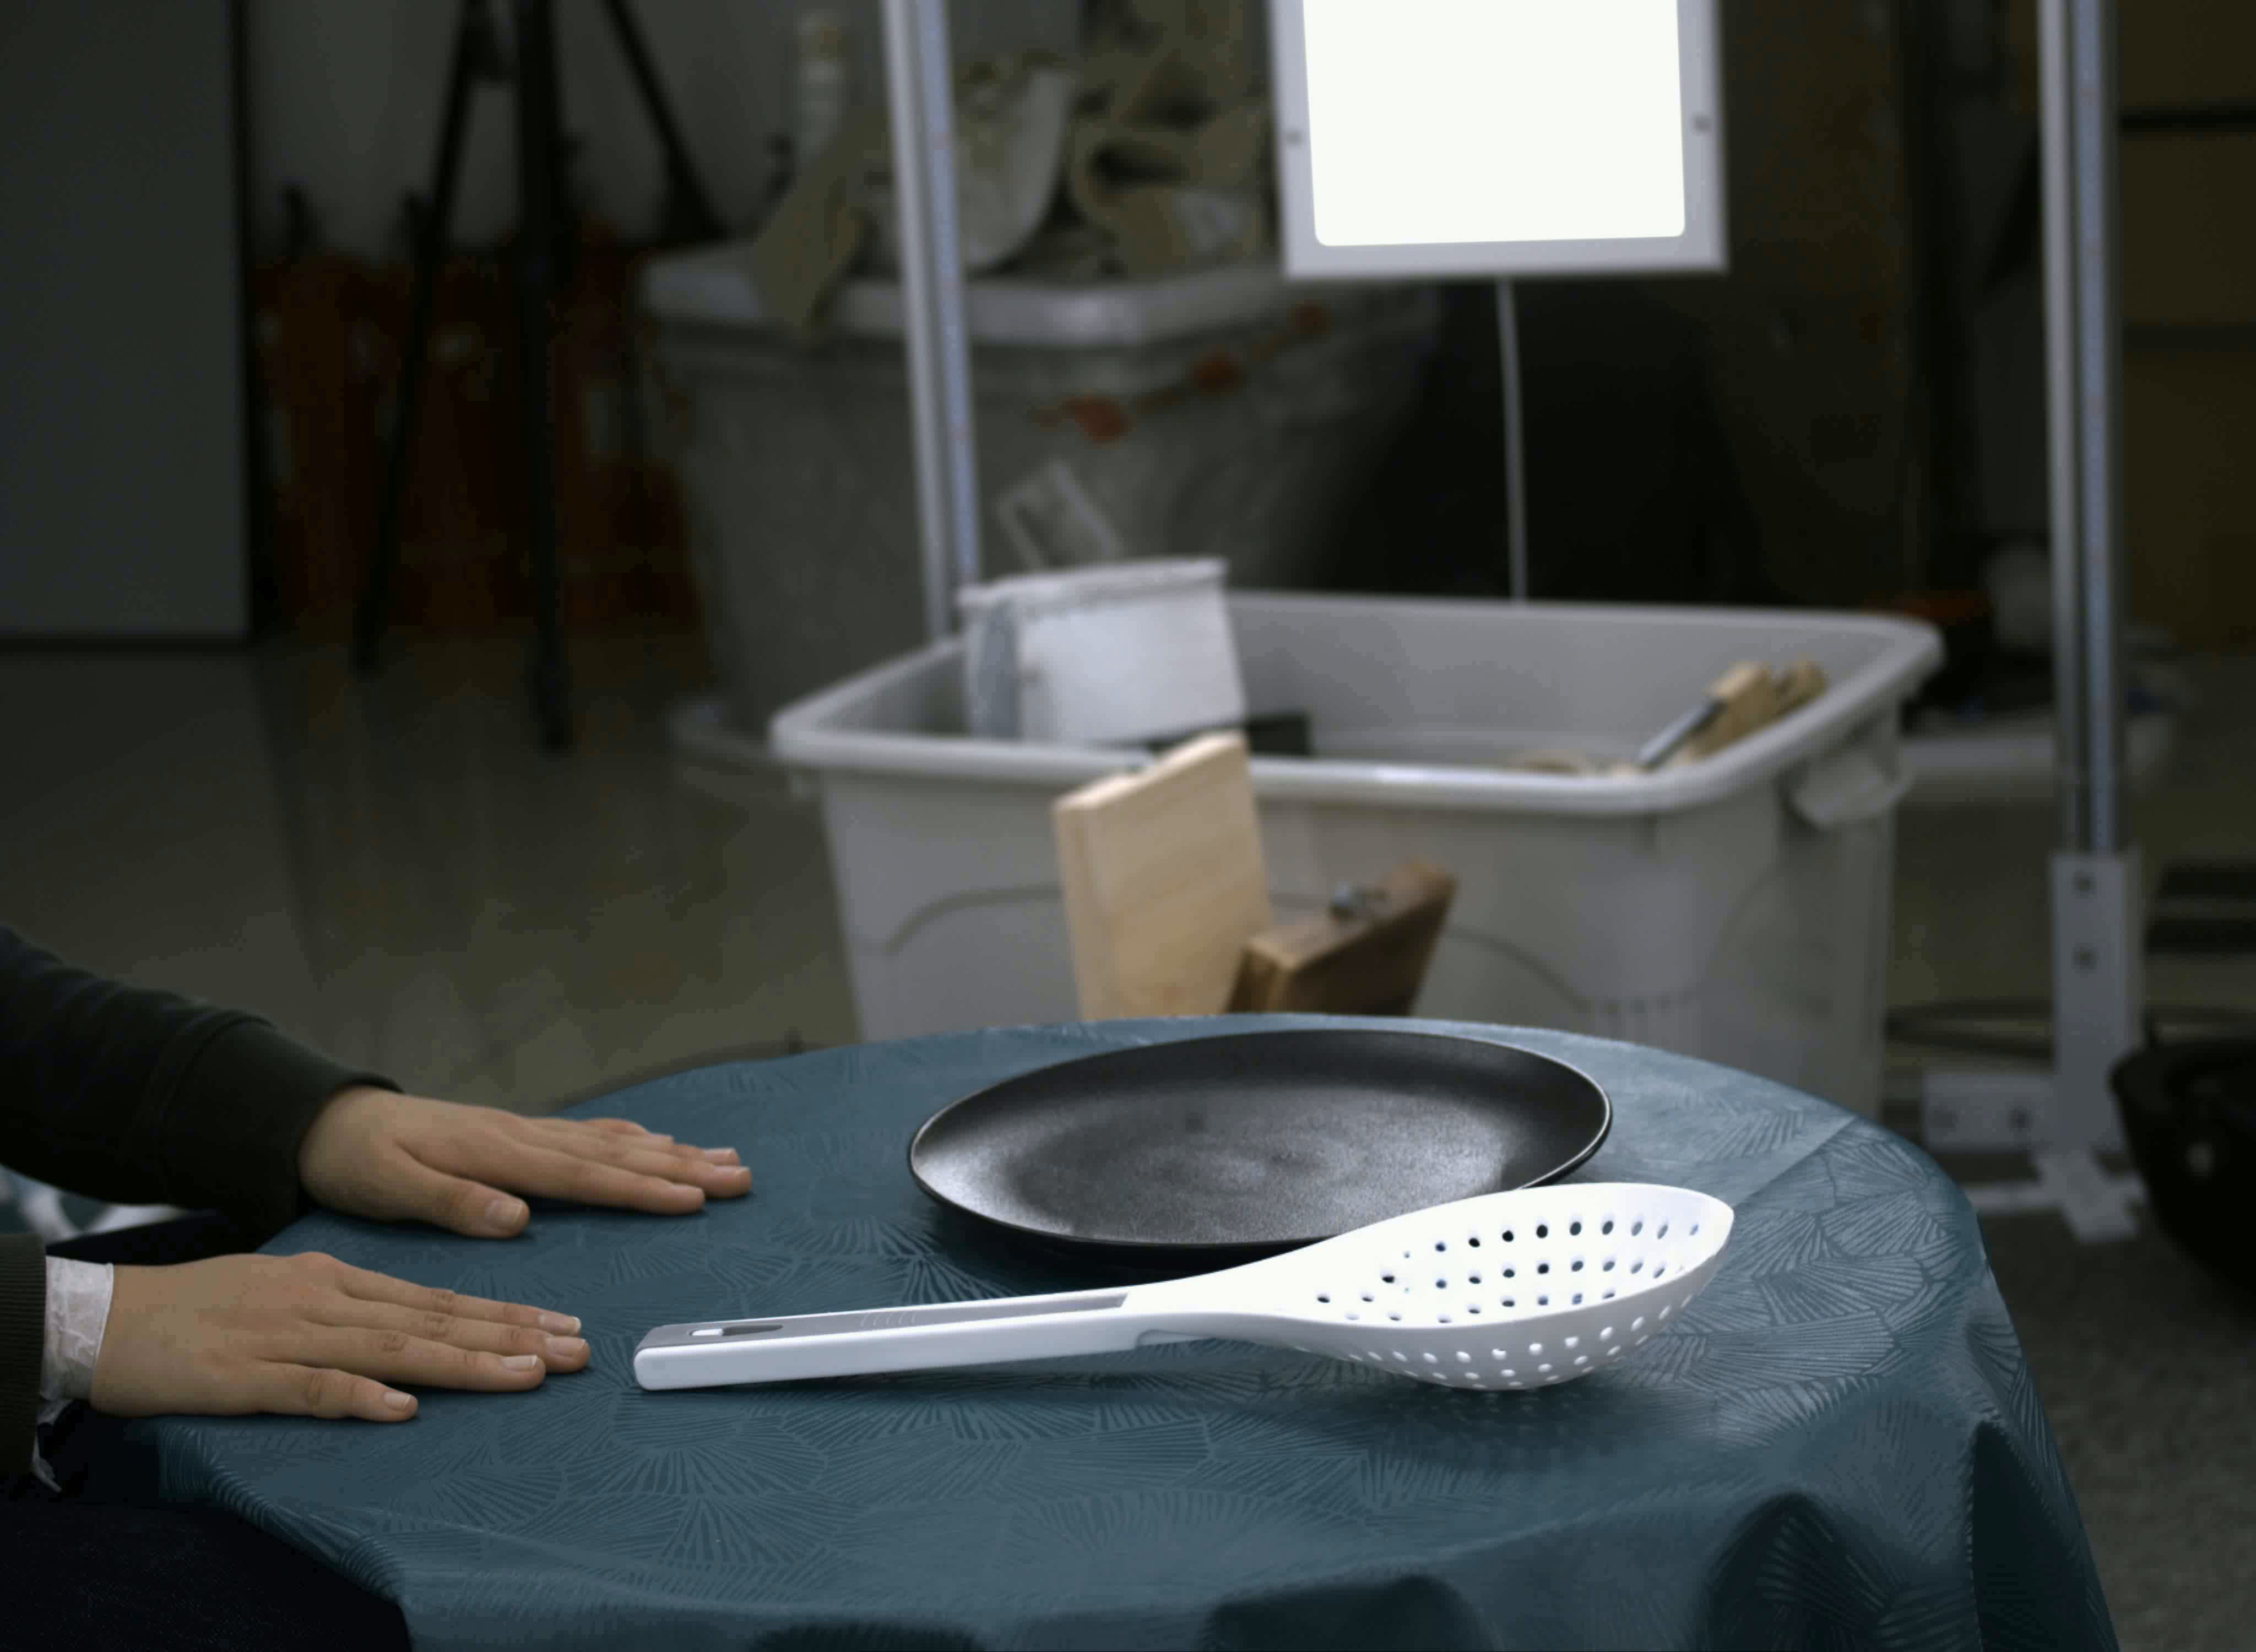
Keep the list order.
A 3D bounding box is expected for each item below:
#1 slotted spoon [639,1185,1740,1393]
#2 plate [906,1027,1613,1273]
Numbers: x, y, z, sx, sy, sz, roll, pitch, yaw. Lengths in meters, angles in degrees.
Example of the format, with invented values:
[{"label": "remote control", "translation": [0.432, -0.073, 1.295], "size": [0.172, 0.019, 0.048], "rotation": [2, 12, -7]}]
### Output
[{"label": "slotted spoon", "translation": [0.016, 0.149, 1.703], "size": [0.353, 0.046, 0.134], "rotation": [-2, 12, 14]}, {"label": "plate", "translation": [0.045, 0.114, 1.886], "size": [0.244, 0.023, 0.244], "rotation": [-5, 14, 0]}]
